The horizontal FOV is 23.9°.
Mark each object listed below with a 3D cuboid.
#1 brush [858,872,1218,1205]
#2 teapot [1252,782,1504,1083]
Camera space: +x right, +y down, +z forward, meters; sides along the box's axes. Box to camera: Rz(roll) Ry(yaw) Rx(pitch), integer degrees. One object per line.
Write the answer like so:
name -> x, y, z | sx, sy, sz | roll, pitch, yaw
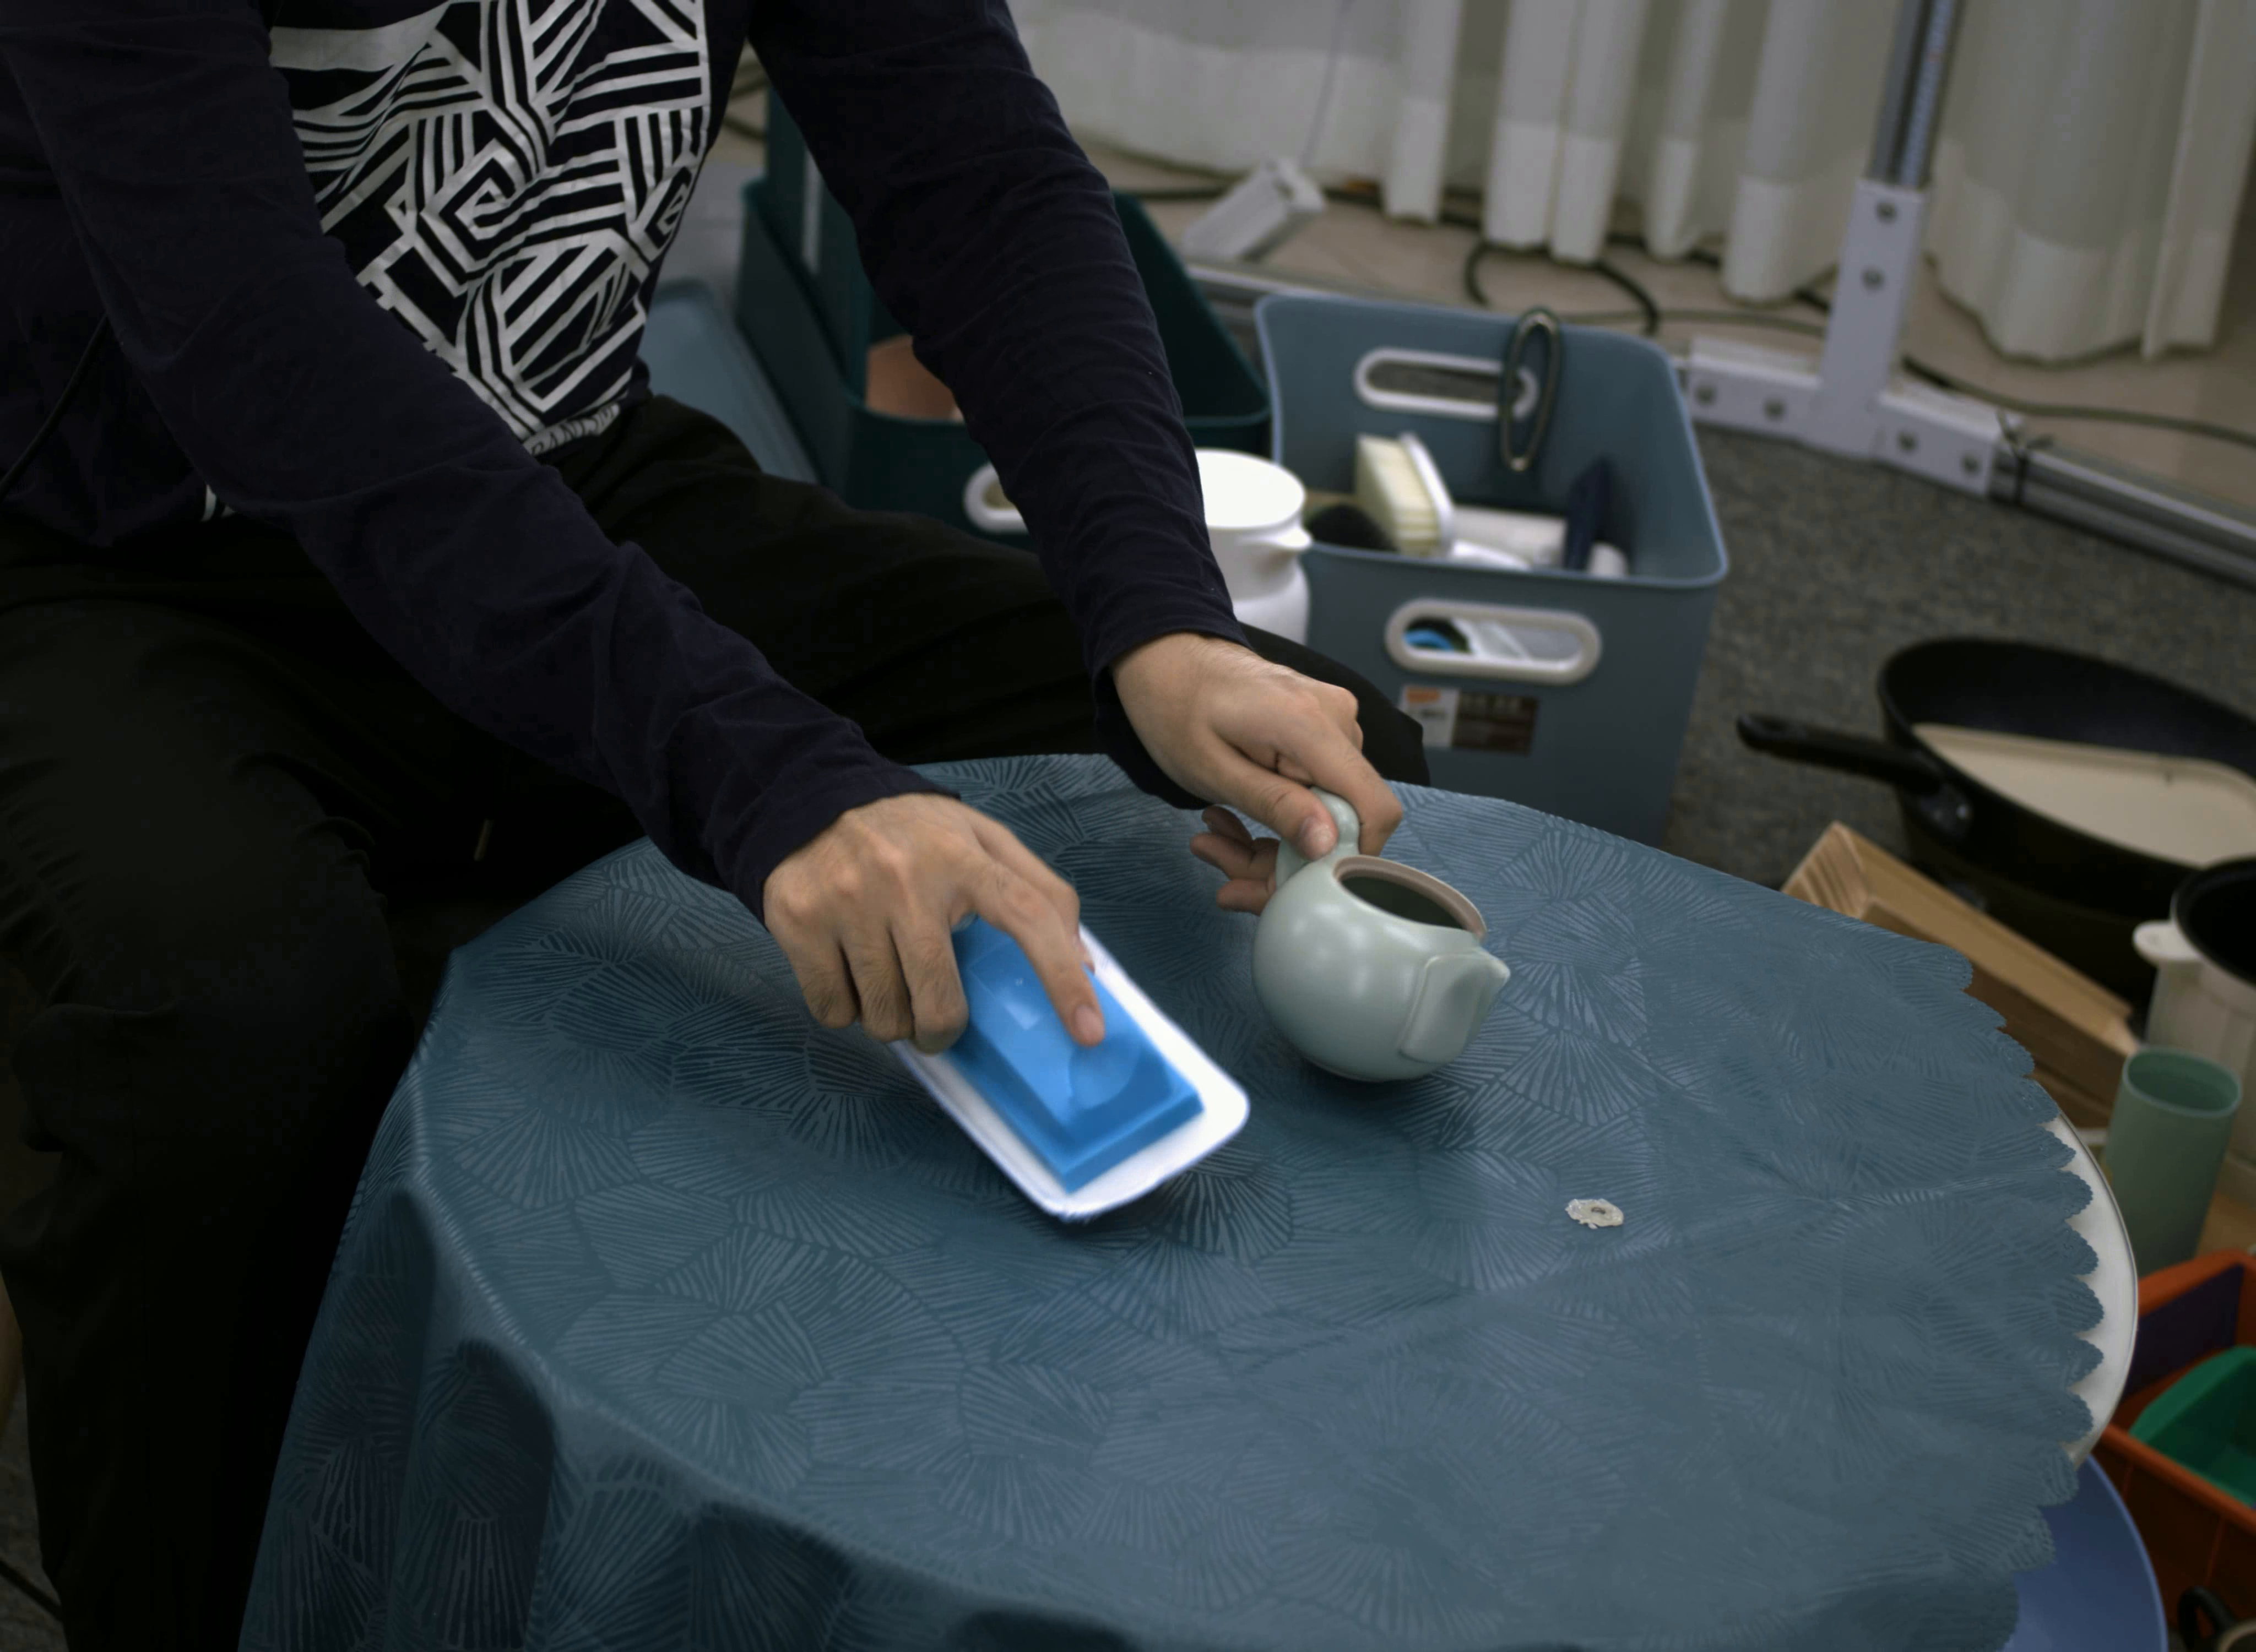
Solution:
brush -> -0.033, 0.066, 1.814 | 0.083, 0.055, 0.145 | -25, 43, -15
teapot -> 0.088, 0.049, 1.885 | 0.087, 0.074, 0.145 | 5, 28, -28
